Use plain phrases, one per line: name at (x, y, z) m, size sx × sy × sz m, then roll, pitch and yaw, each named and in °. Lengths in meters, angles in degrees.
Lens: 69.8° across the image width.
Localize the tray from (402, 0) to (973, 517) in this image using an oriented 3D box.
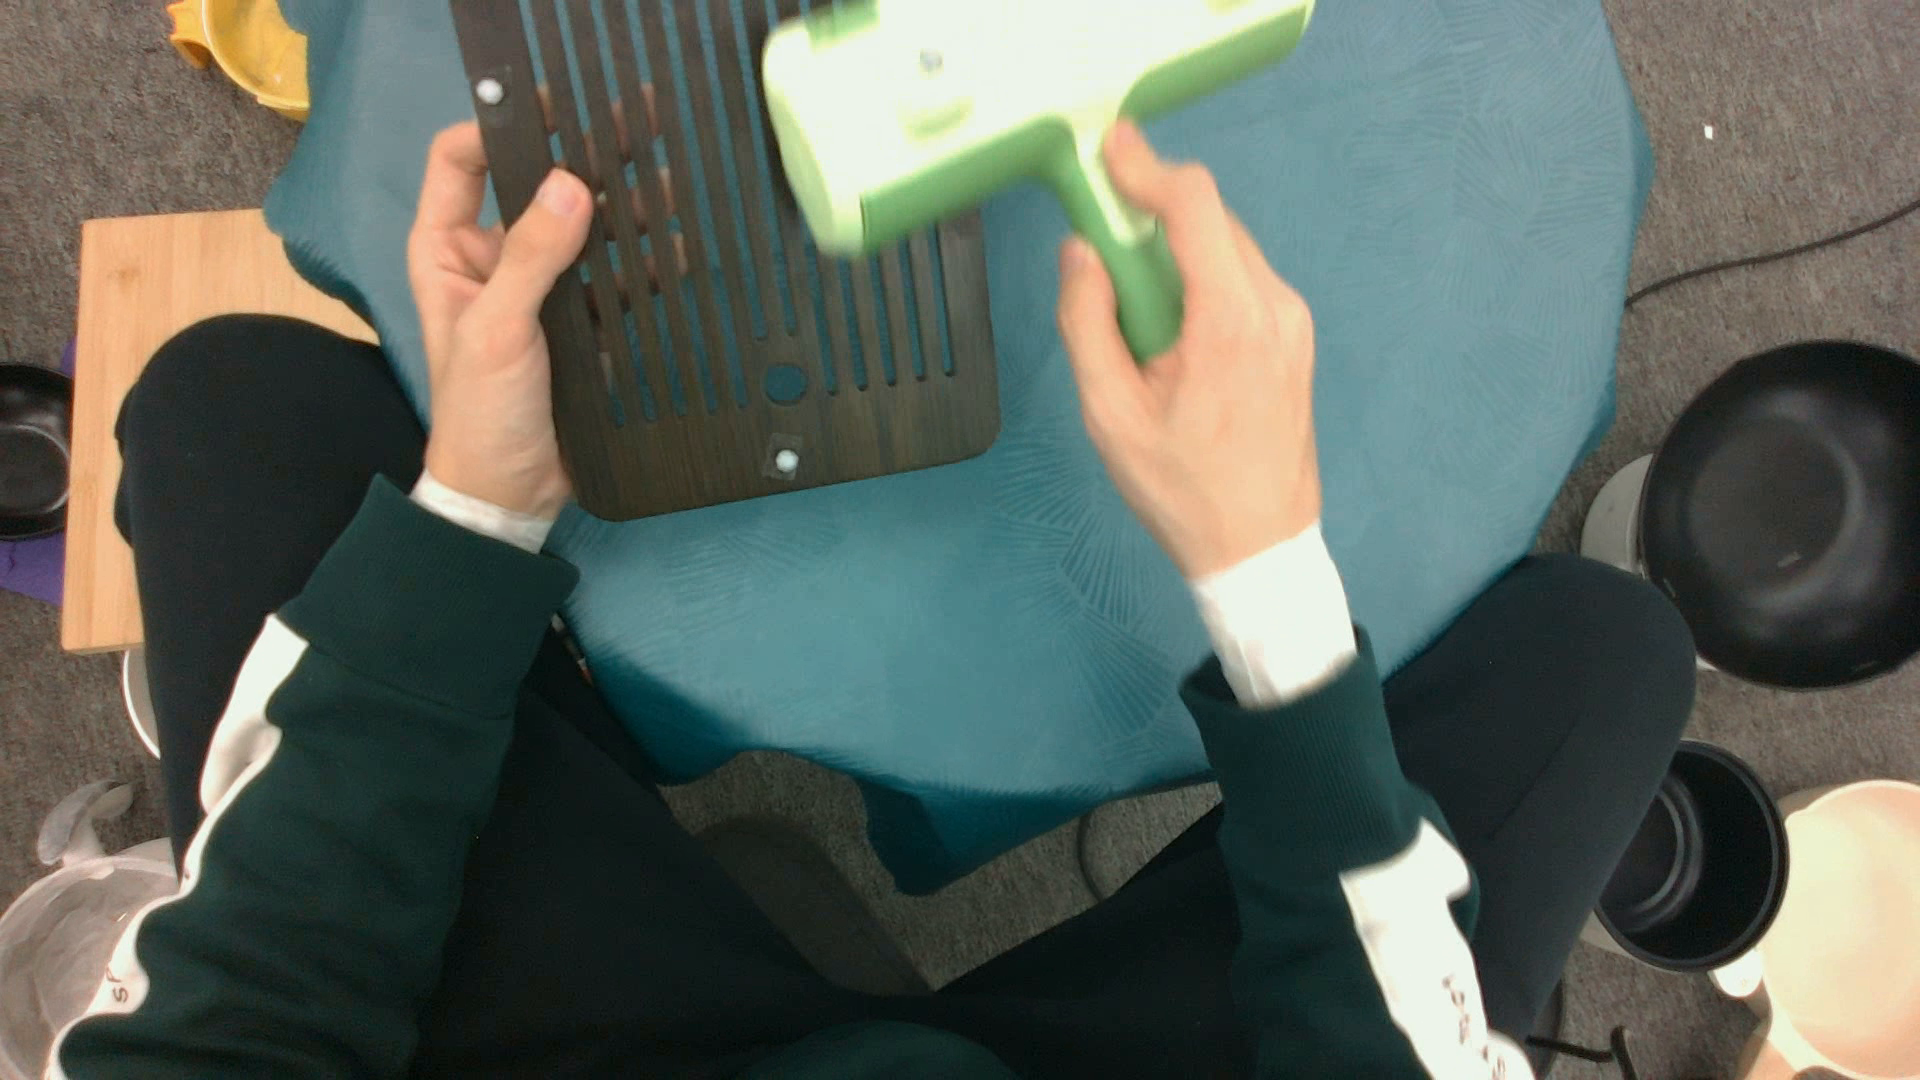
tray at (-0.098, -0.164, 0.488) m, size 0.170 × 0.018 × 0.305 m, roll -13°, pitch 115°, yaw -9°

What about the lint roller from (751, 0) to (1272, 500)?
lint roller at (0.054, -0.100, 0.482) m, size 0.199 × 0.082 × 0.183 m, roll -30°, pitch 83°, yaw -17°
